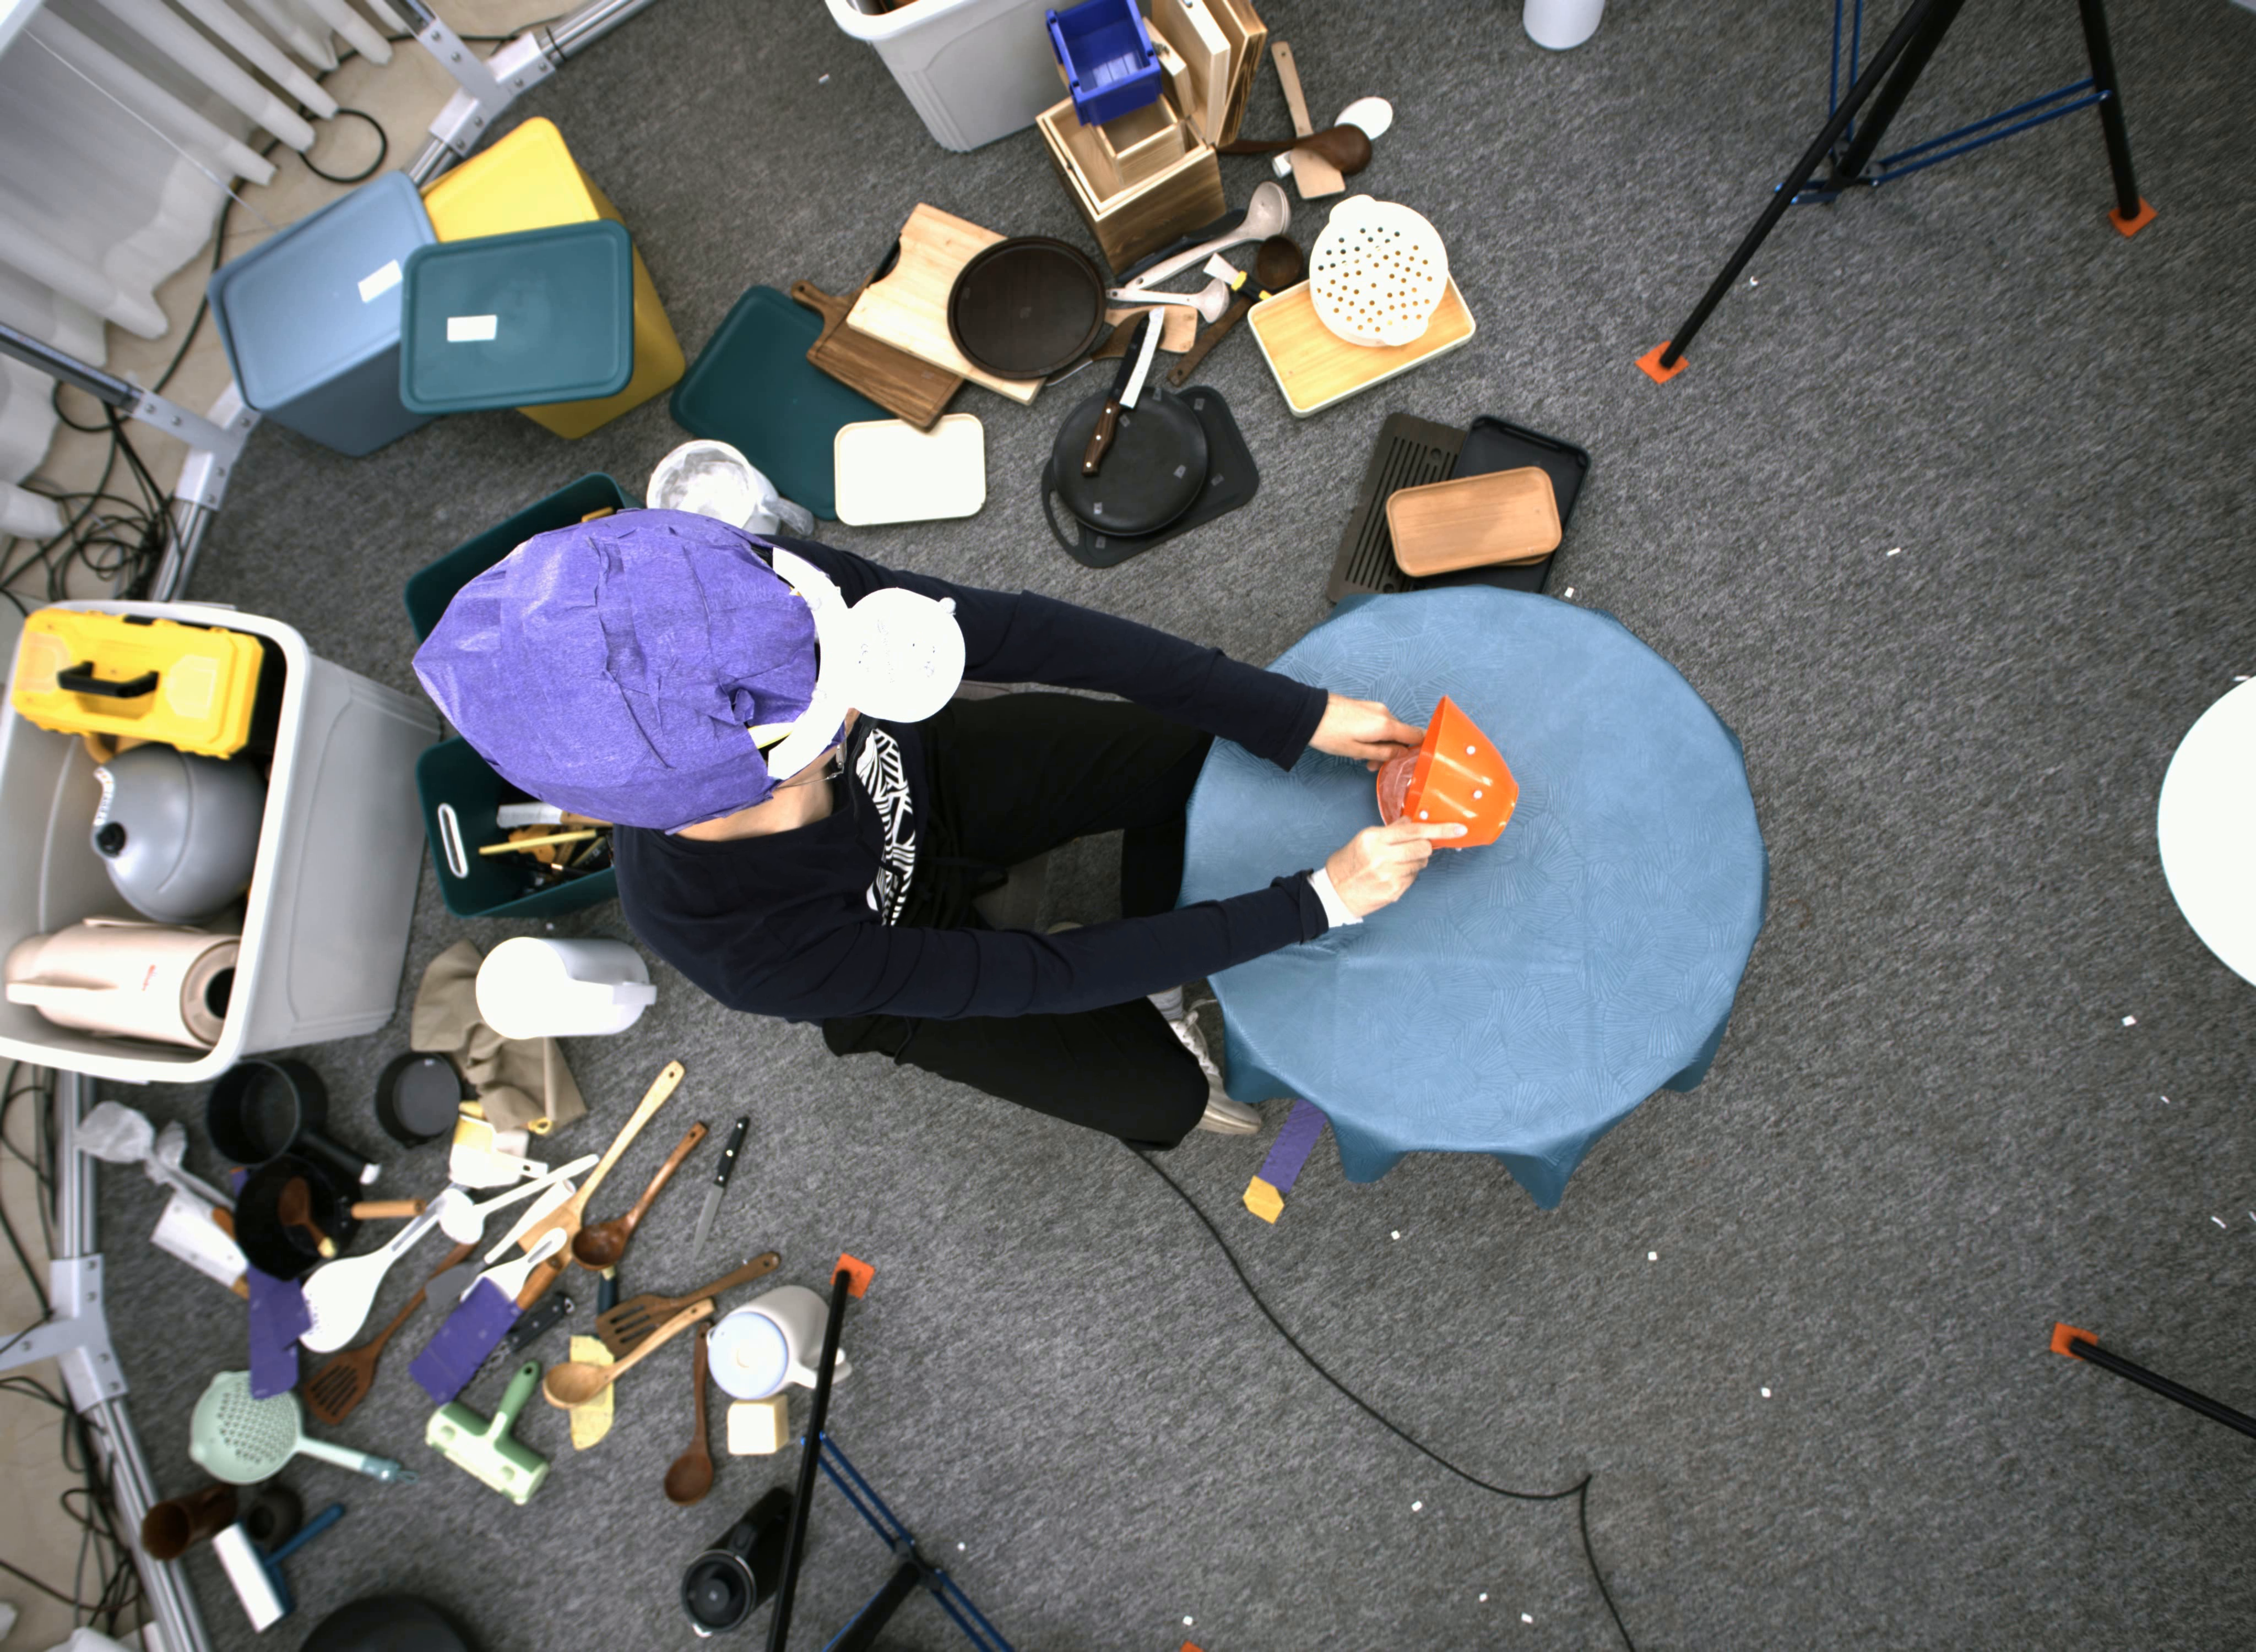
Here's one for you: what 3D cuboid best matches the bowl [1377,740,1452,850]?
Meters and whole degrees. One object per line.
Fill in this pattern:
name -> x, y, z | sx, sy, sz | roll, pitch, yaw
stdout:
bowl -> 0.314, -0.032, 1.430 | 0.119, 0.051, 0.118 | 0, 88, 9

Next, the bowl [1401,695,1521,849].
bowl -> 0.327, -0.041, 1.340 | 0.105, 0.148, 0.148 | 24, 89, -1
